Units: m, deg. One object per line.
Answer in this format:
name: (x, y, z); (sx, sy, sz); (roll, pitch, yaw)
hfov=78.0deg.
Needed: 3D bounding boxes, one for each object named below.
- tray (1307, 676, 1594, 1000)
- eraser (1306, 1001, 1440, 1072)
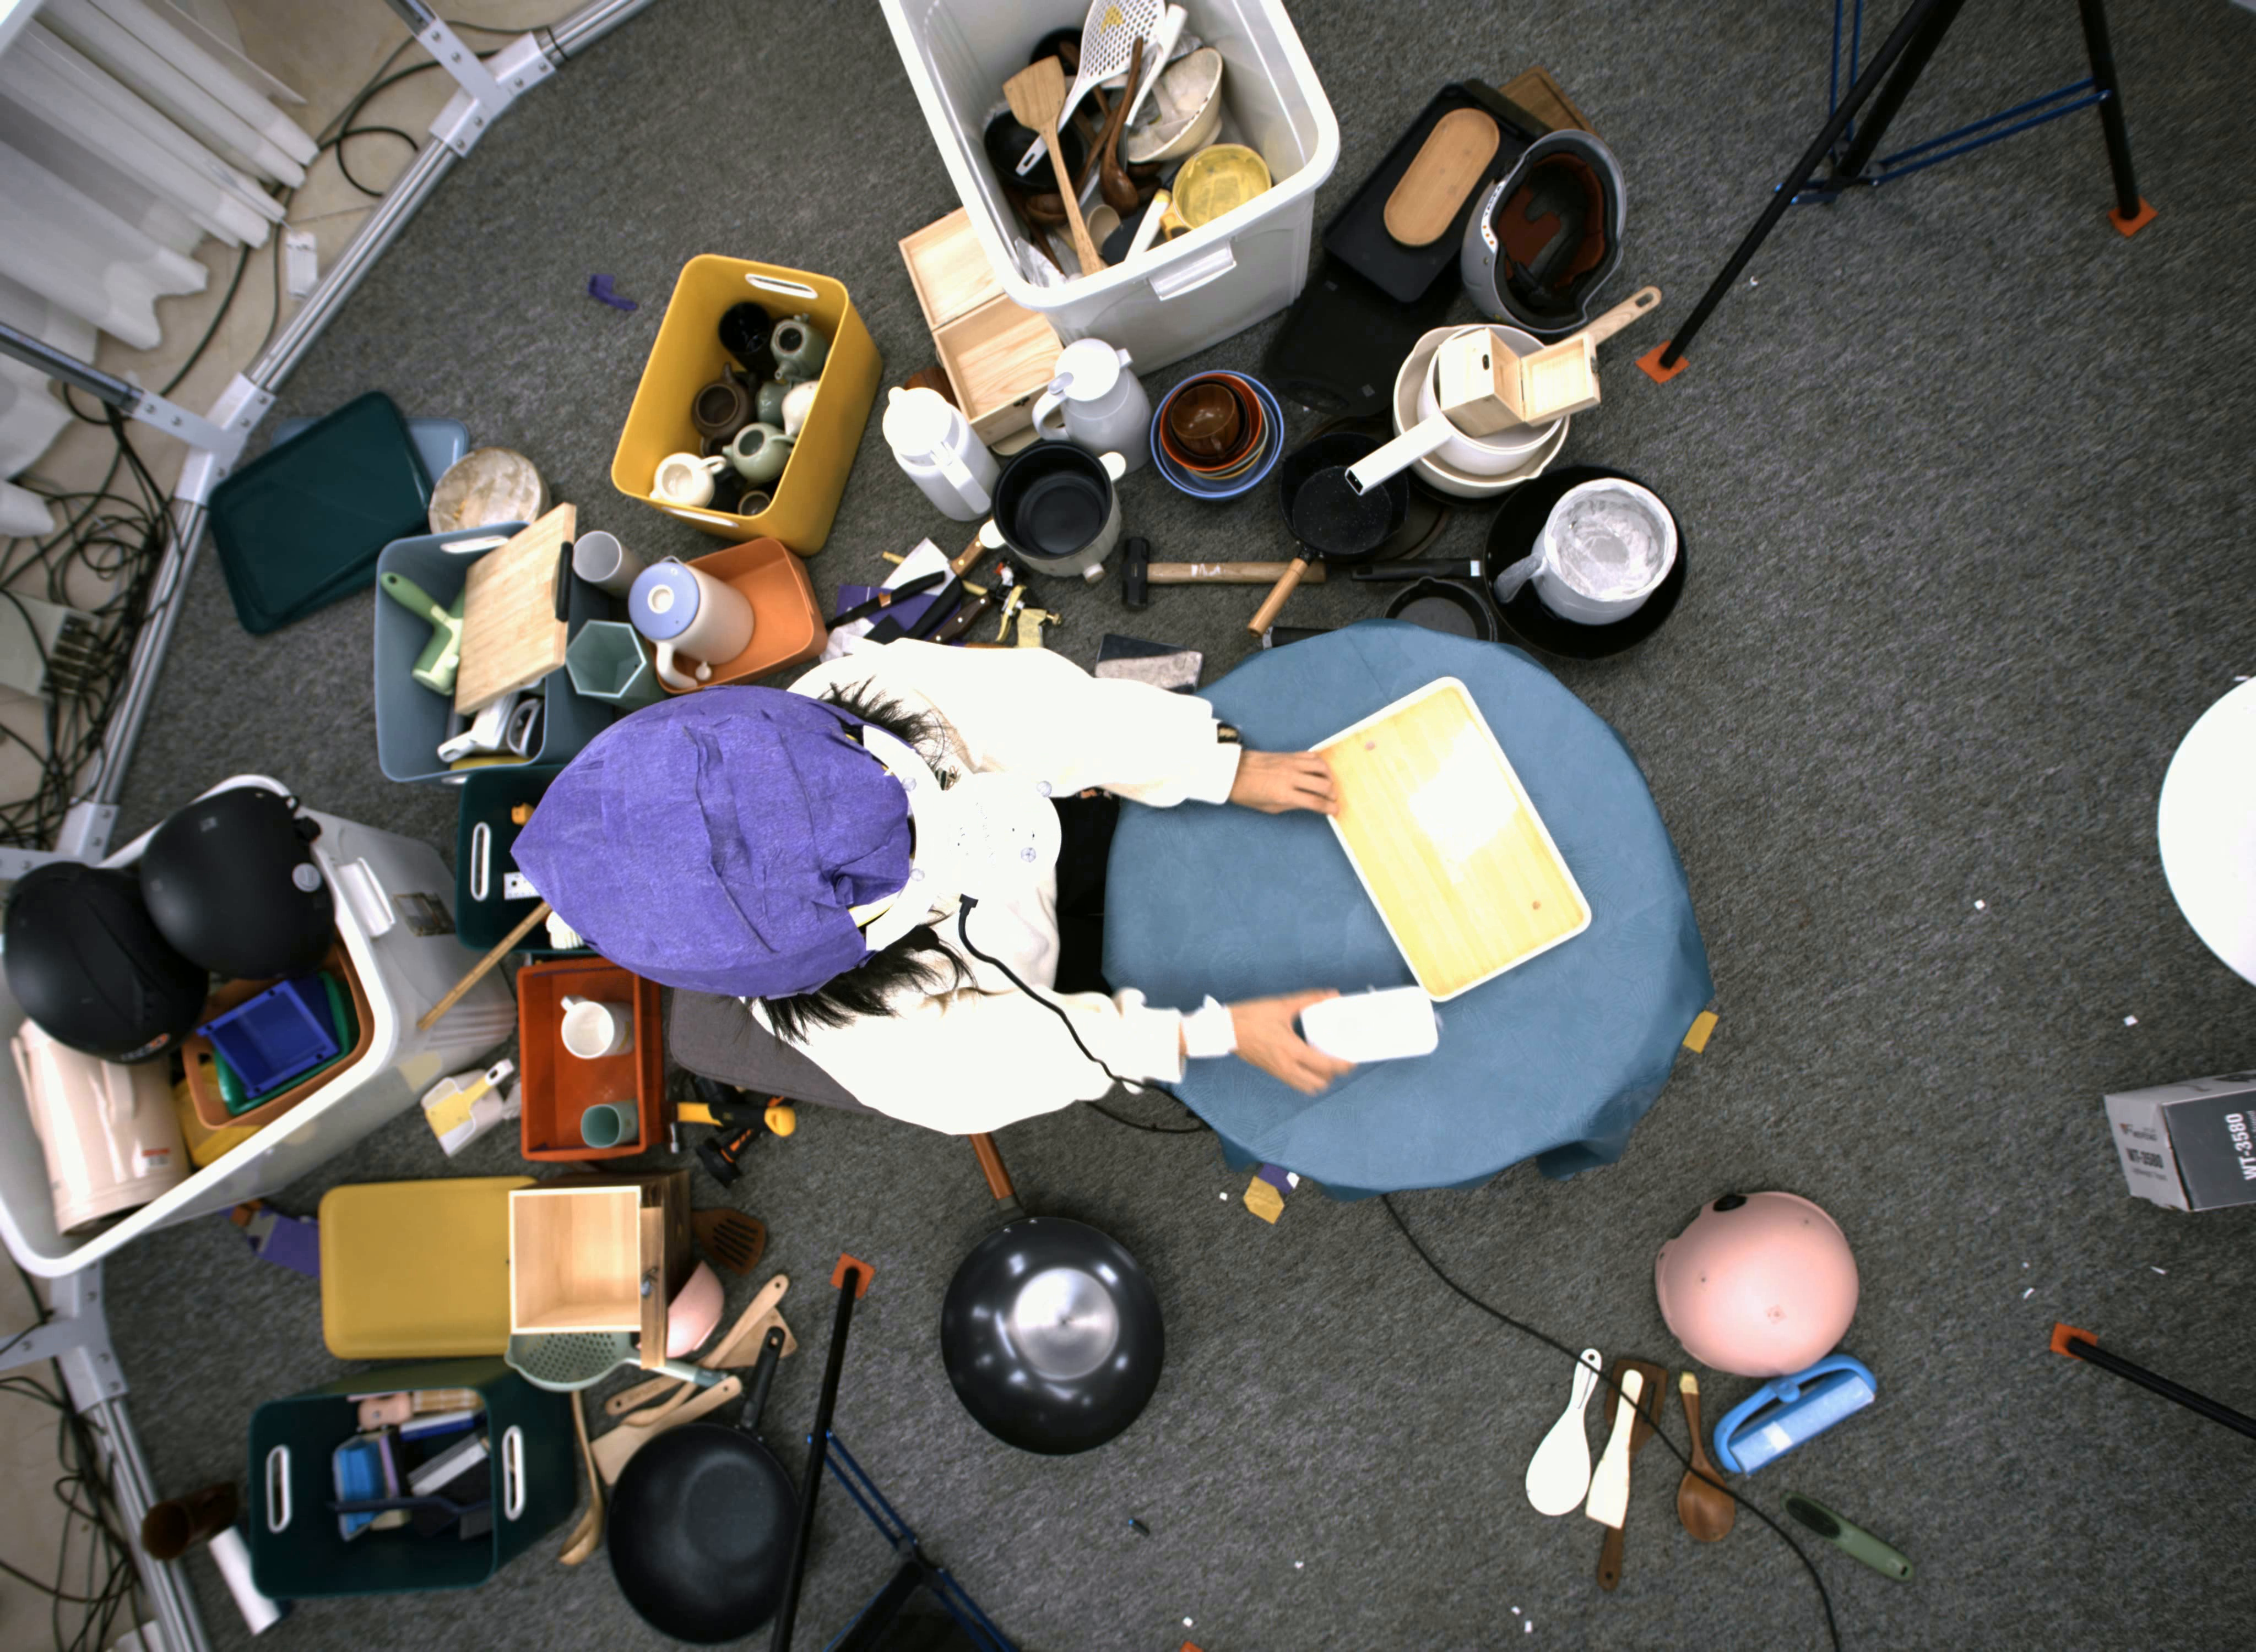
tray: (0.334, 0.010, 1.438); (0.192, 0.027, 0.298); (-27, 83, 8)
eraser: (0.247, 0.209, 1.395); (0.132, 0.034, 0.064); (-8, 98, 17)
